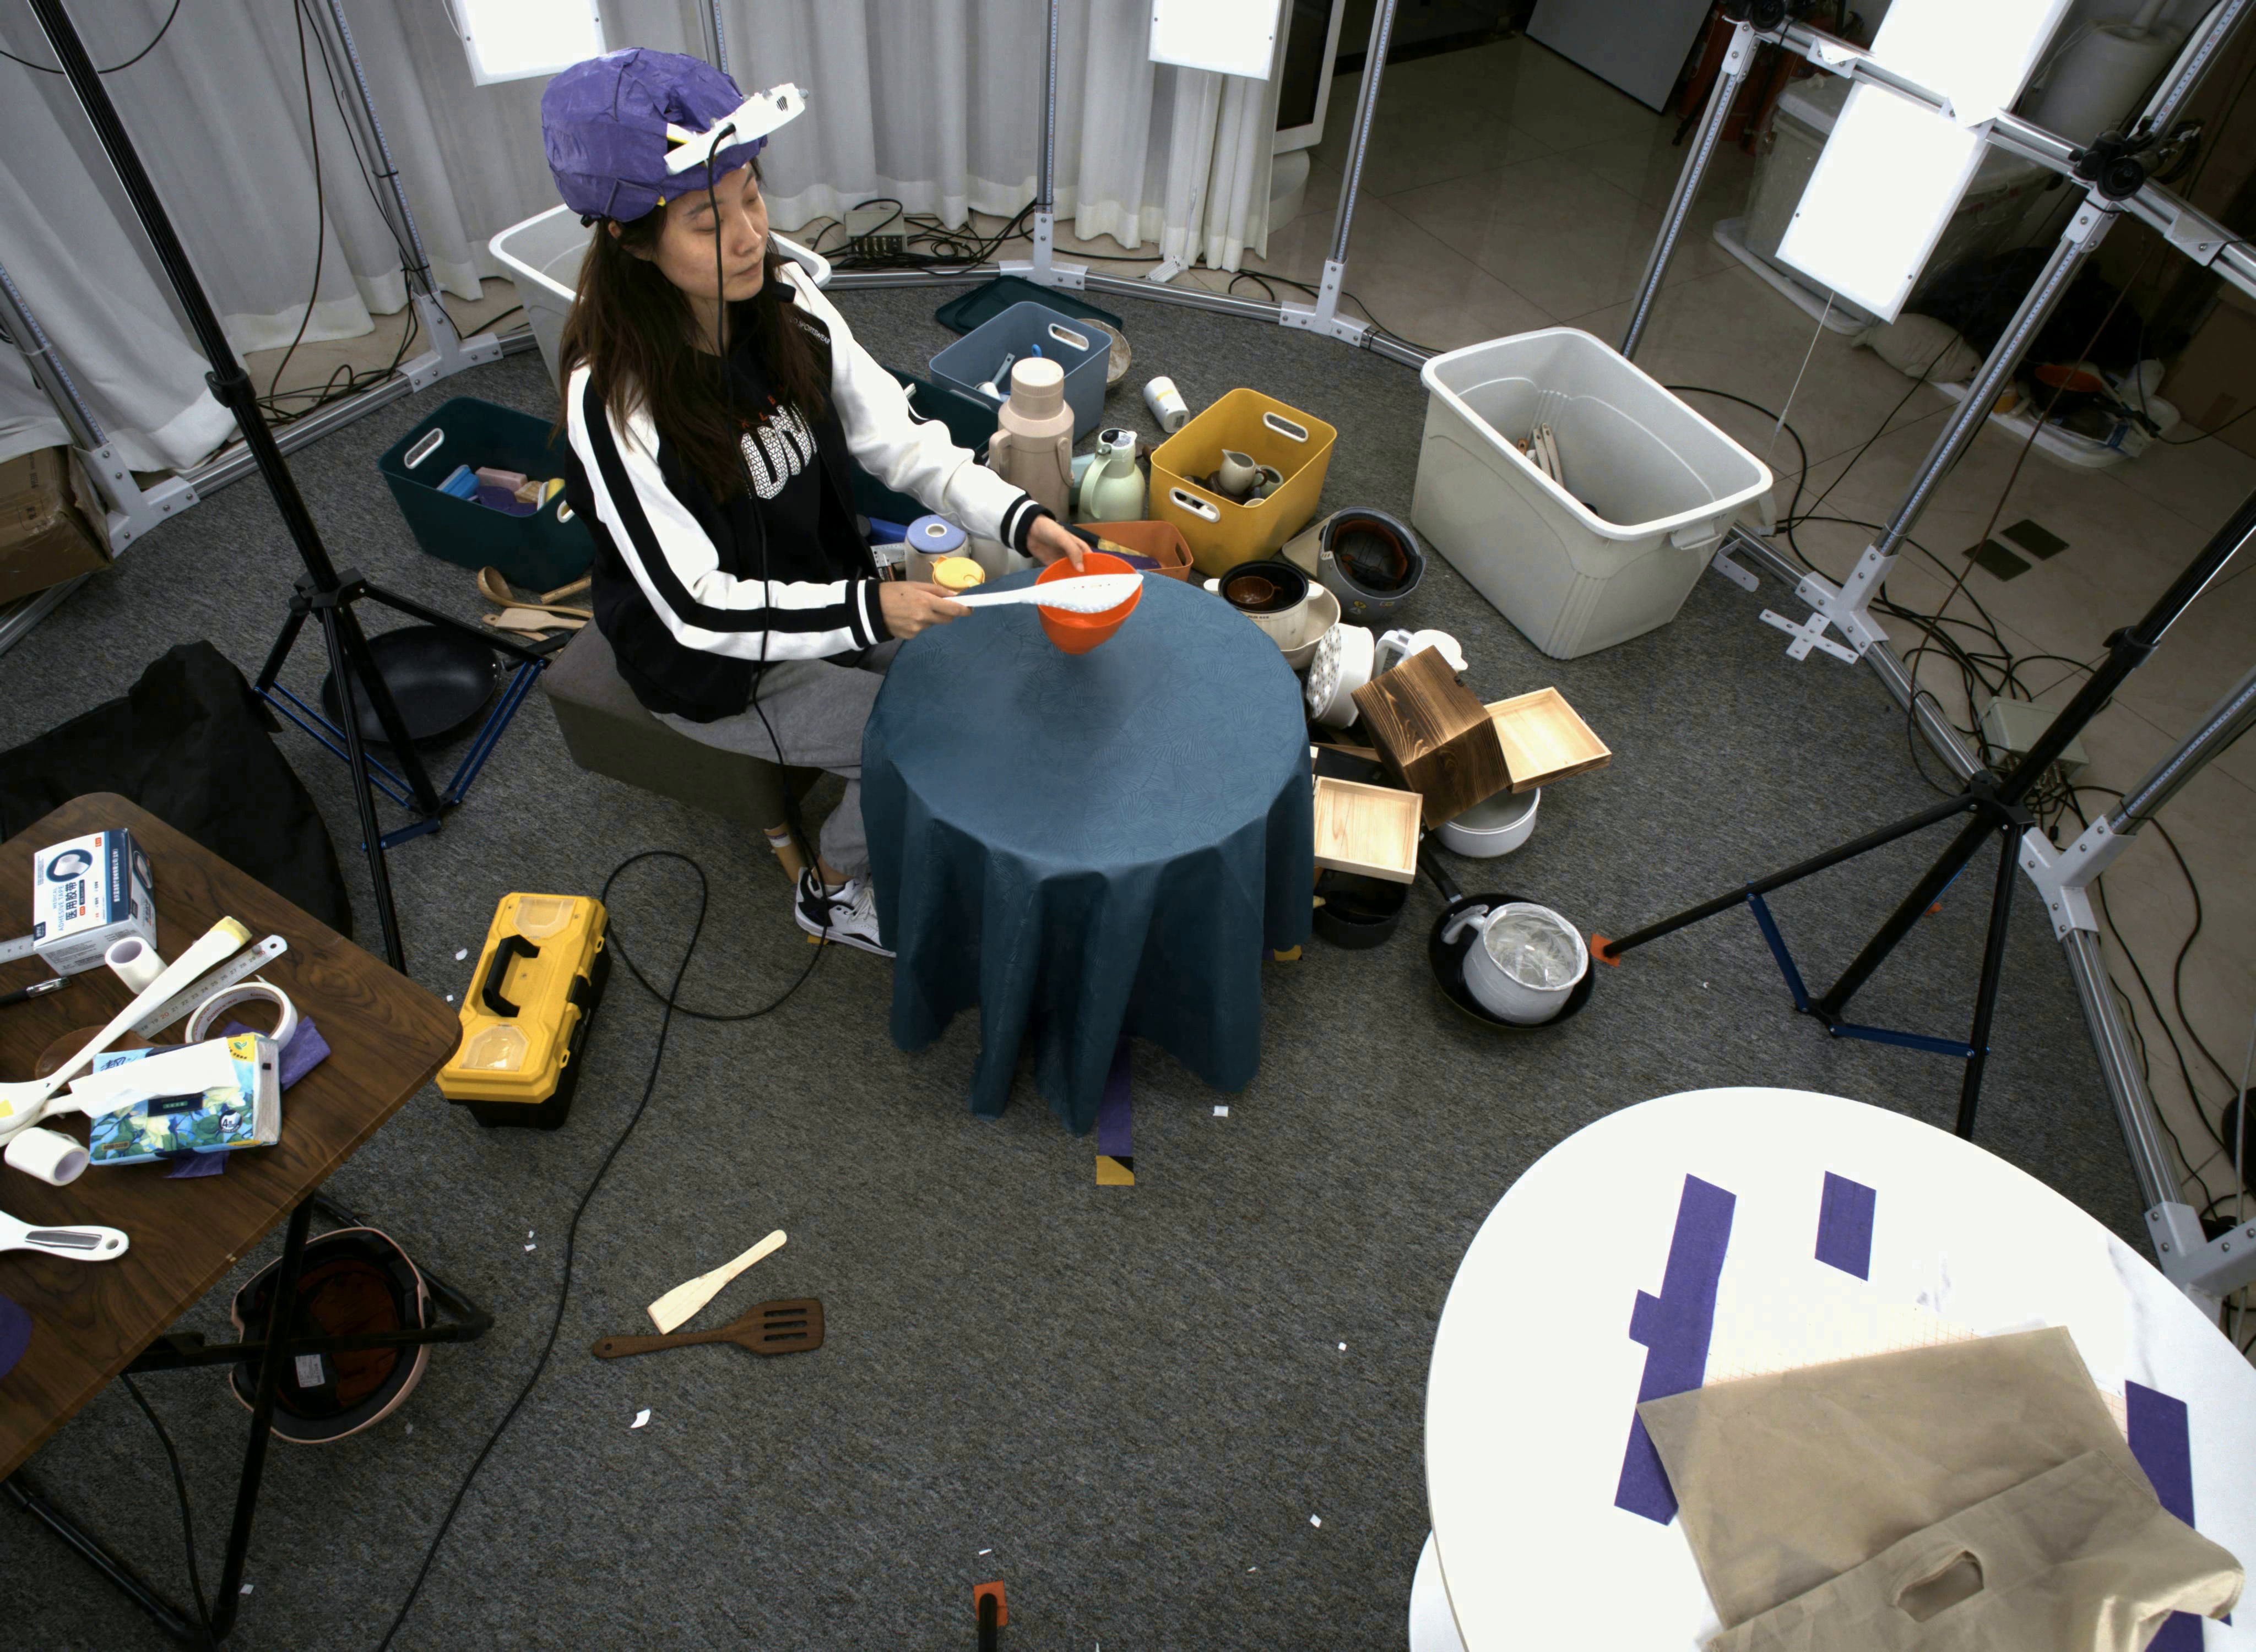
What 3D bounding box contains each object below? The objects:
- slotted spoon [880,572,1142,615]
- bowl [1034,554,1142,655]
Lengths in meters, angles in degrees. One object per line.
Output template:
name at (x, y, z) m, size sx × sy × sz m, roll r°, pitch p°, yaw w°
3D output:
slotted spoon at (-0.154, -0.301, 1.684) m, size 0.350 × 0.045 × 0.136 m, roll 0°, pitch 5°, yaw 10°
bowl at (-0.060, -0.299, 1.803) m, size 0.148 × 0.102 × 0.151 m, roll 4°, pitch 52°, yaw -5°
